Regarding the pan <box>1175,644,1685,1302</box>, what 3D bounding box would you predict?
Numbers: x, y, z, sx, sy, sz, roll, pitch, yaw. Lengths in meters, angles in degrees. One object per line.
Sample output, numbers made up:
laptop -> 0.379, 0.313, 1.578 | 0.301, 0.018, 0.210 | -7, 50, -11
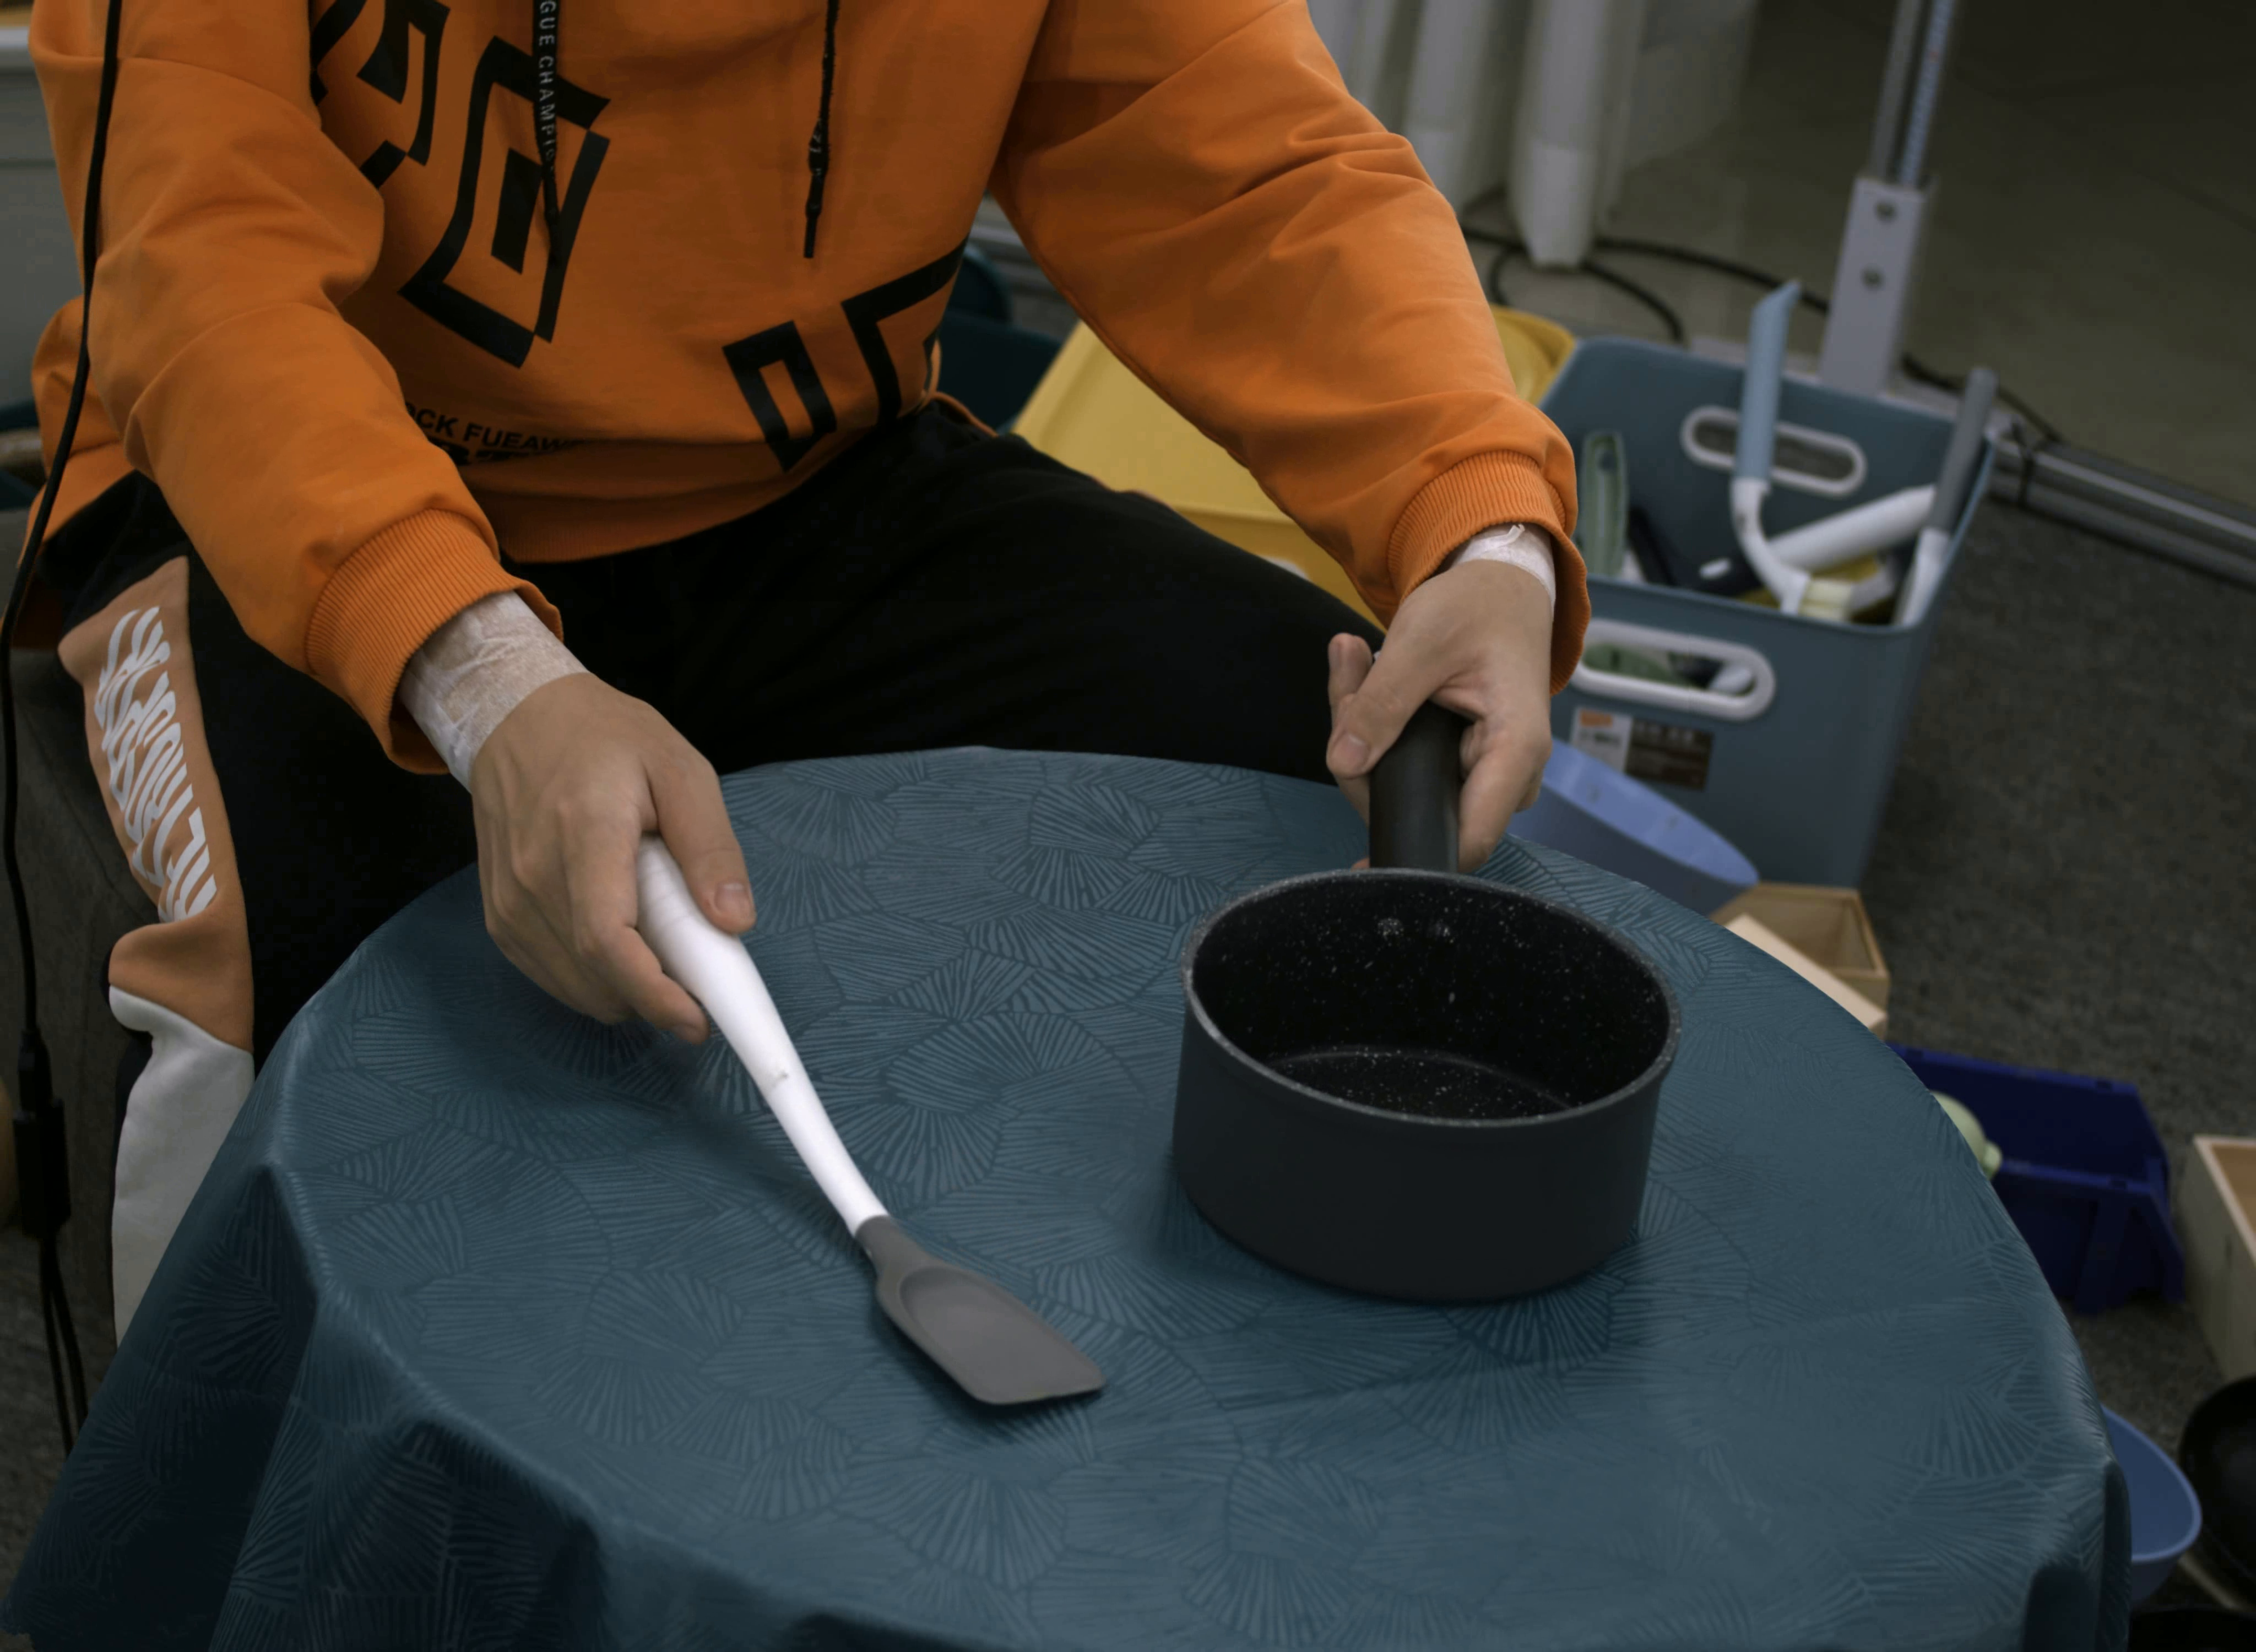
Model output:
pan -> 0.103, 0.047, 1.876 | 0.171, 0.086, 0.330 | 7, 30, 0

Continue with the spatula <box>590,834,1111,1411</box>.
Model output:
spatula -> -0.100, 0.101, 1.763 | 0.058, 0.032, 0.290 | 1, 36, -40
